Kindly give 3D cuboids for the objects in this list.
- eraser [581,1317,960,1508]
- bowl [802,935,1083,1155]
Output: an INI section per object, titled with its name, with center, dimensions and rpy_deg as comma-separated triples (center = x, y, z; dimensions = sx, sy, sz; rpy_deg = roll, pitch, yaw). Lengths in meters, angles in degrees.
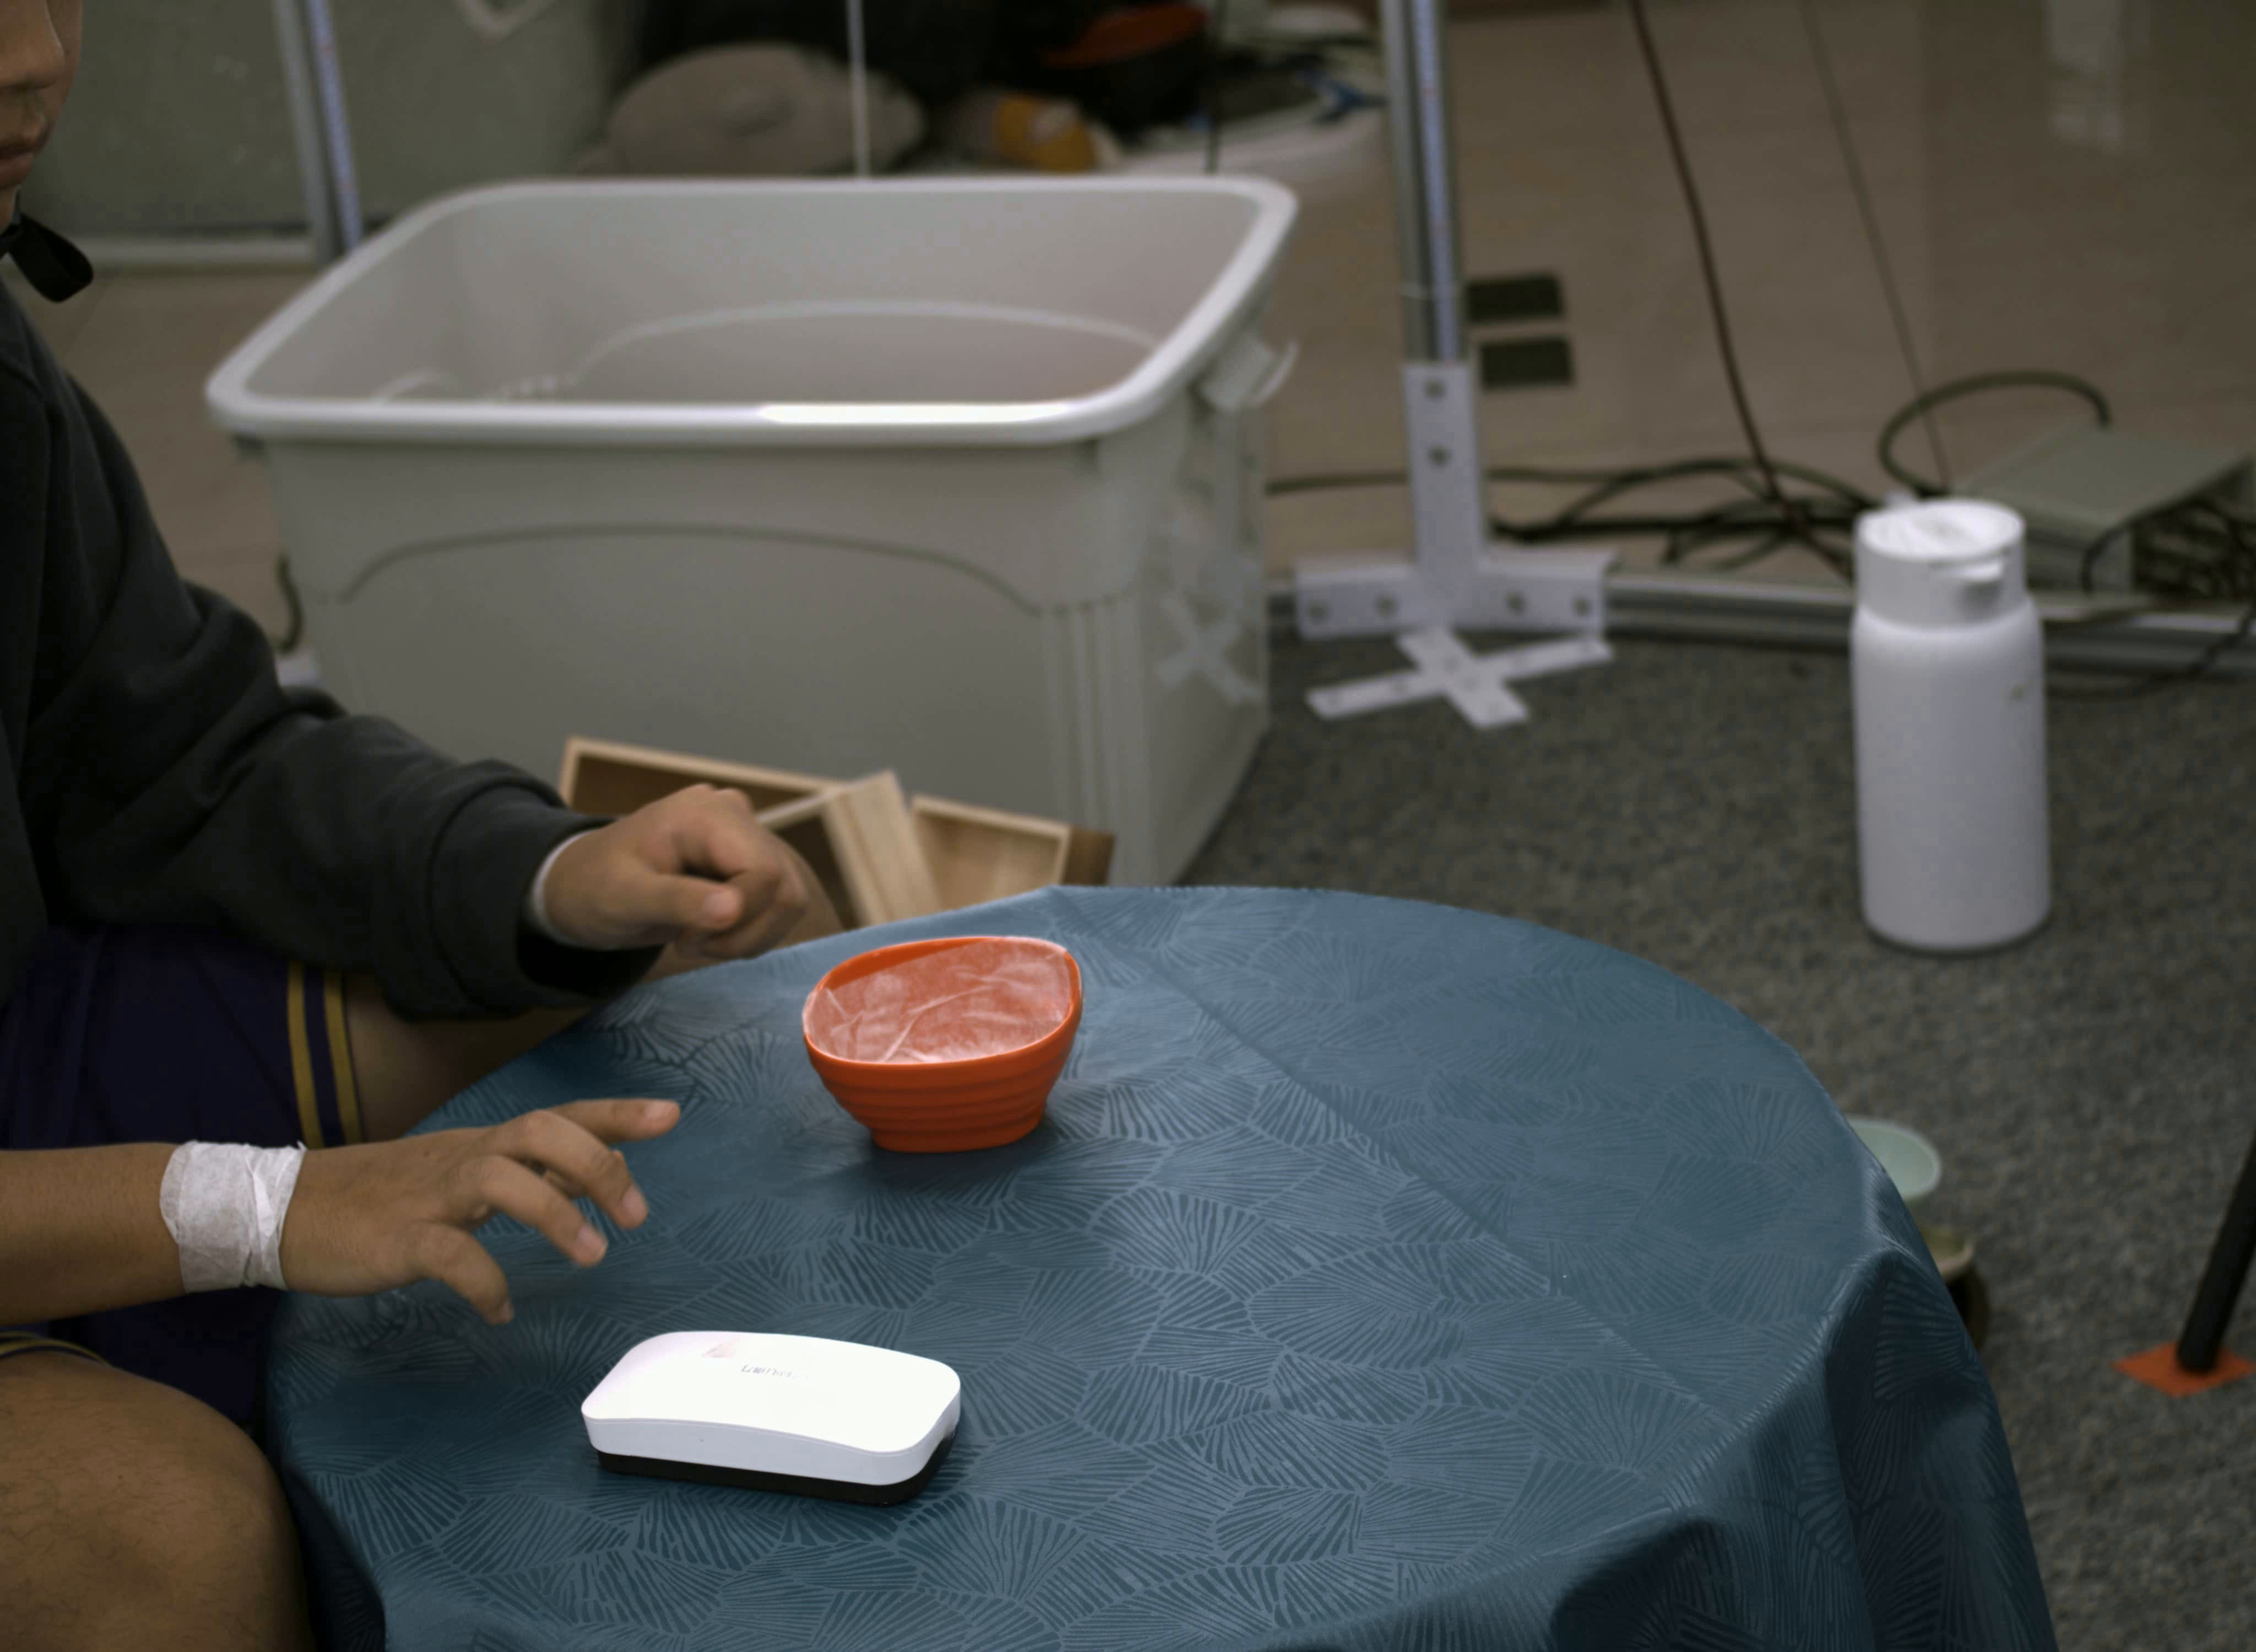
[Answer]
[eraser]
center = -0.125, 0.205, 1.997
dimensions = 0.131, 0.035, 0.062
rpy_deg = 7, 27, 23
[bowl]
center = -0.070, 0.090, 2.209
dimensions = 0.119, 0.052, 0.117
rpy_deg = -5, 26, 3
